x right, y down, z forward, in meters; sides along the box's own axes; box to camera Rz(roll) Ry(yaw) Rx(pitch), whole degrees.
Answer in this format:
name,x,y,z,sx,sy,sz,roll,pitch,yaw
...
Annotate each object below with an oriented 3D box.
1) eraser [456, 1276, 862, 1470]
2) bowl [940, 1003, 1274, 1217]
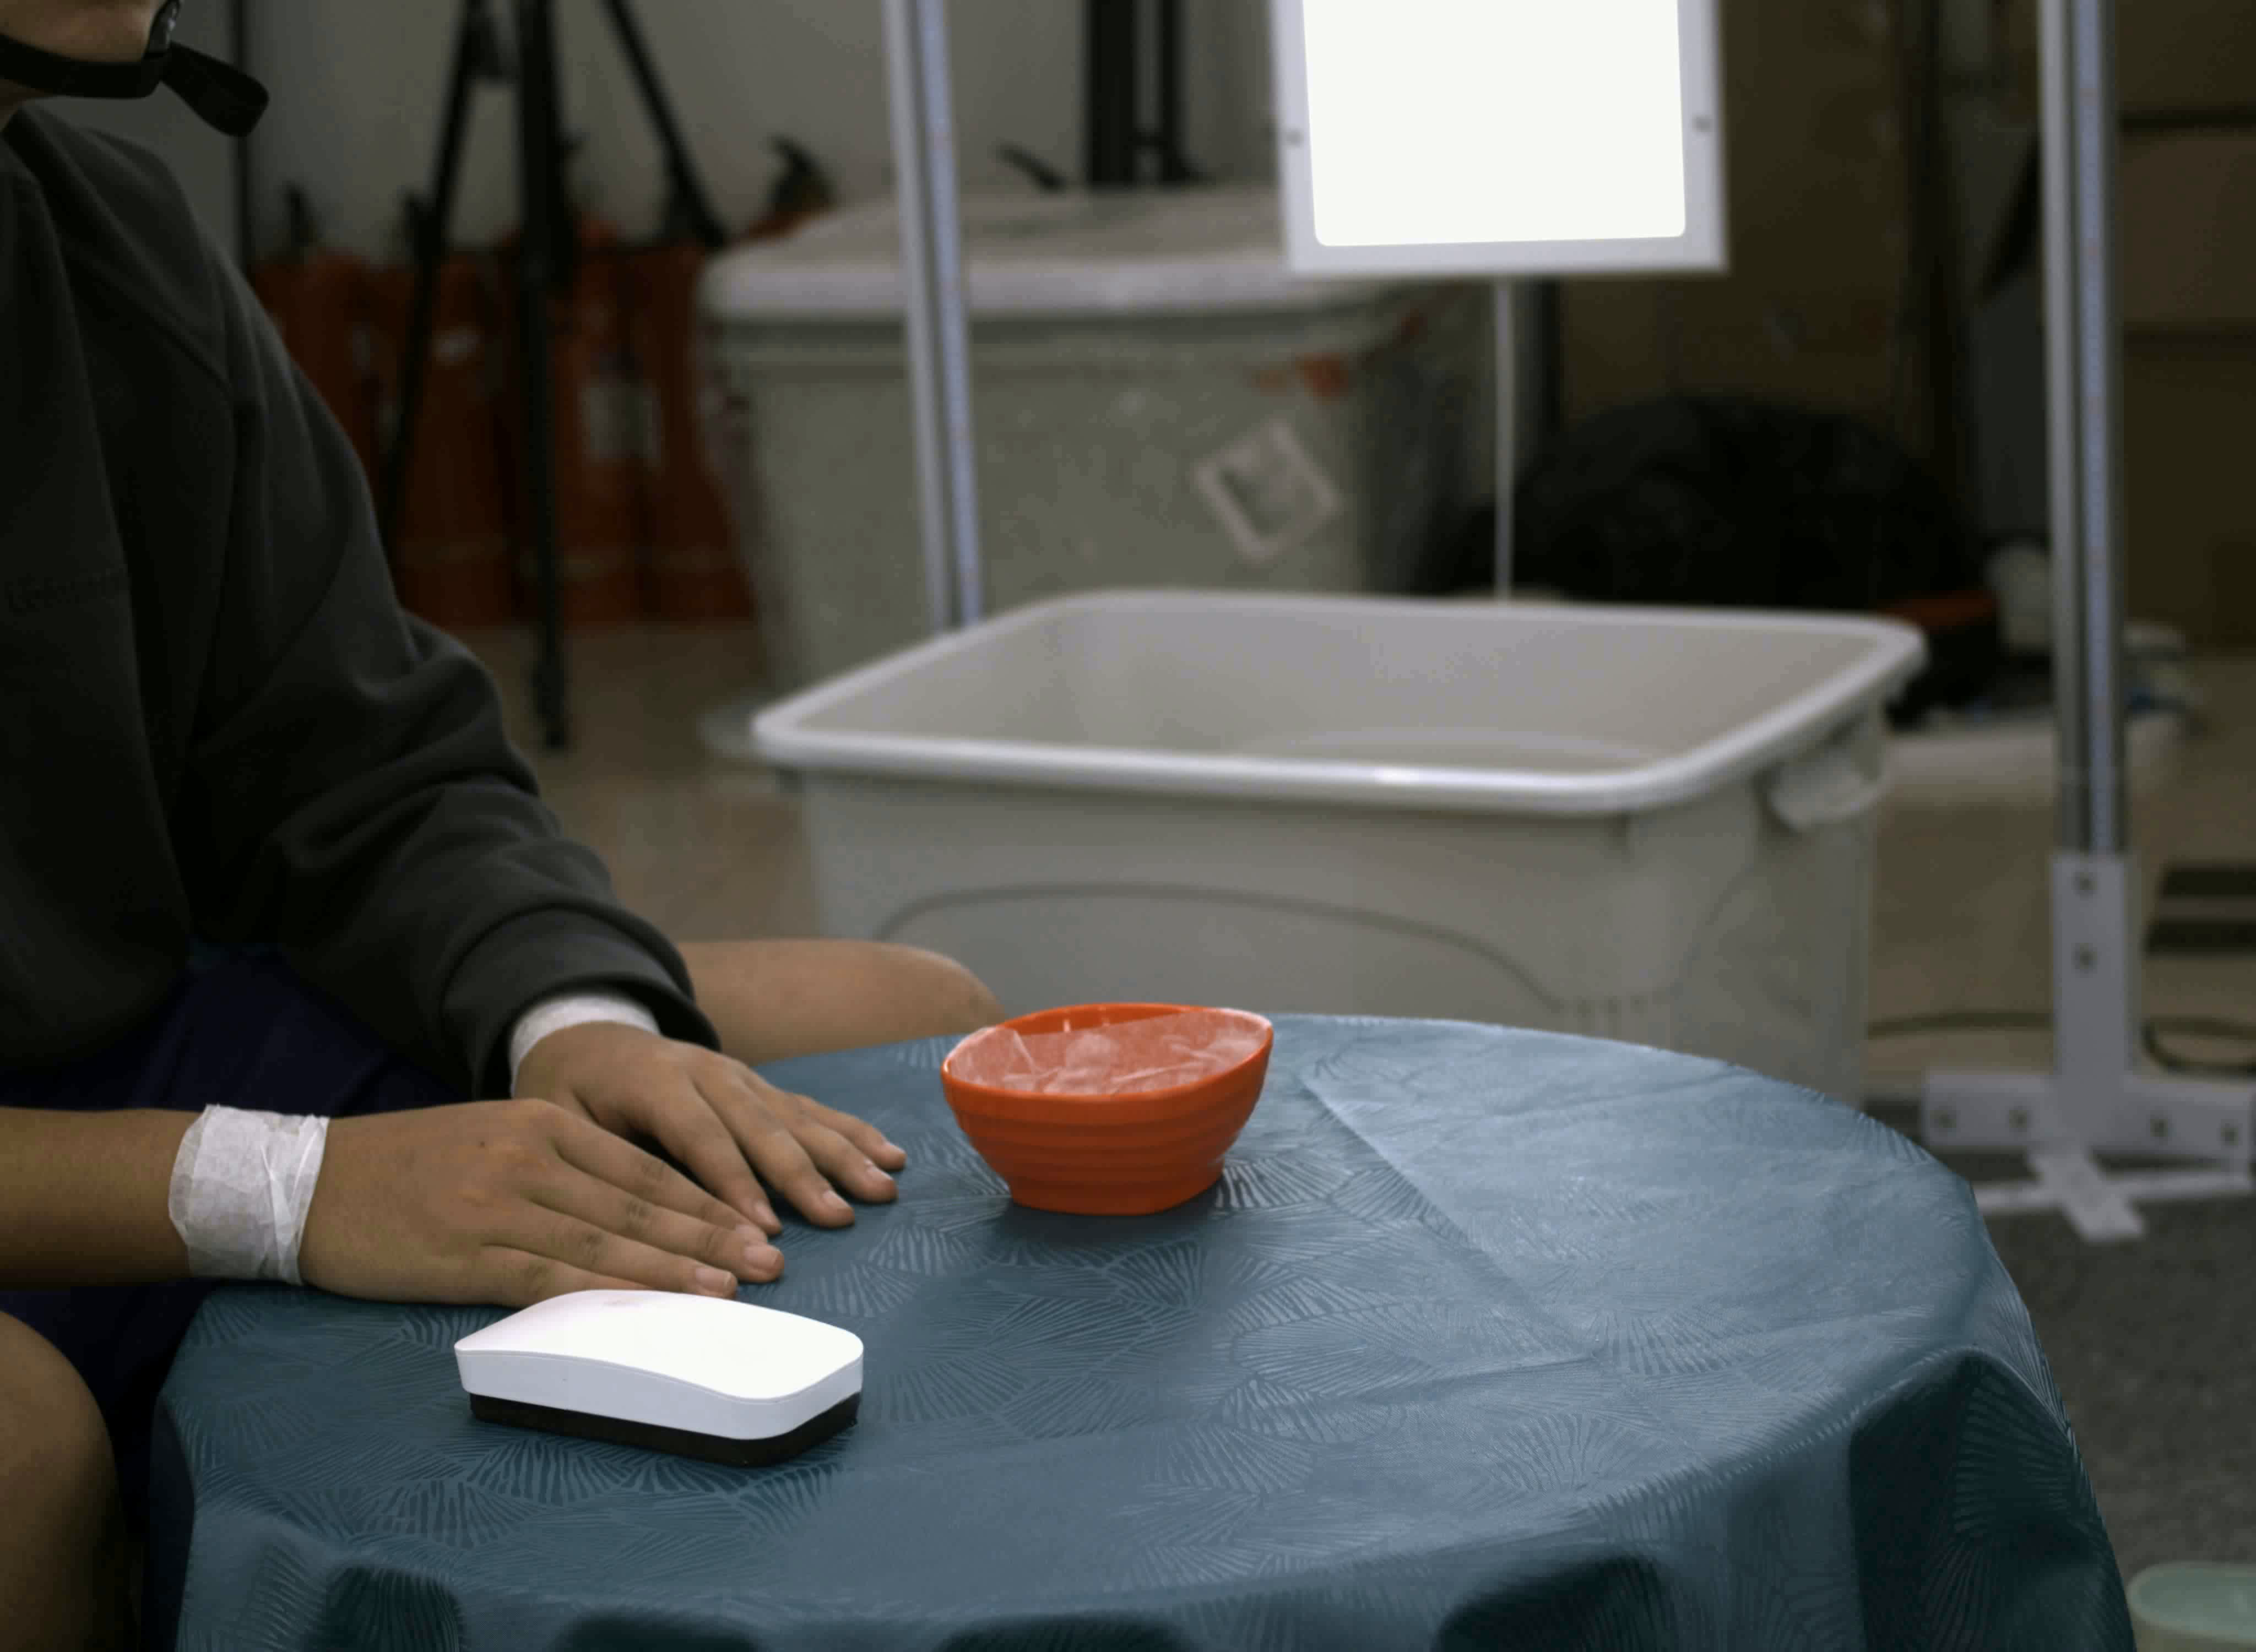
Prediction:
name,x,y,z,sx,sy,sz,roll,pitch,yaw
eraser,-0.145,0.168,1.714,0.134,0.034,0.062,8,17,37
bowl,-0.005,0.100,1.900,0.118,0.051,0.119,-6,14,0
